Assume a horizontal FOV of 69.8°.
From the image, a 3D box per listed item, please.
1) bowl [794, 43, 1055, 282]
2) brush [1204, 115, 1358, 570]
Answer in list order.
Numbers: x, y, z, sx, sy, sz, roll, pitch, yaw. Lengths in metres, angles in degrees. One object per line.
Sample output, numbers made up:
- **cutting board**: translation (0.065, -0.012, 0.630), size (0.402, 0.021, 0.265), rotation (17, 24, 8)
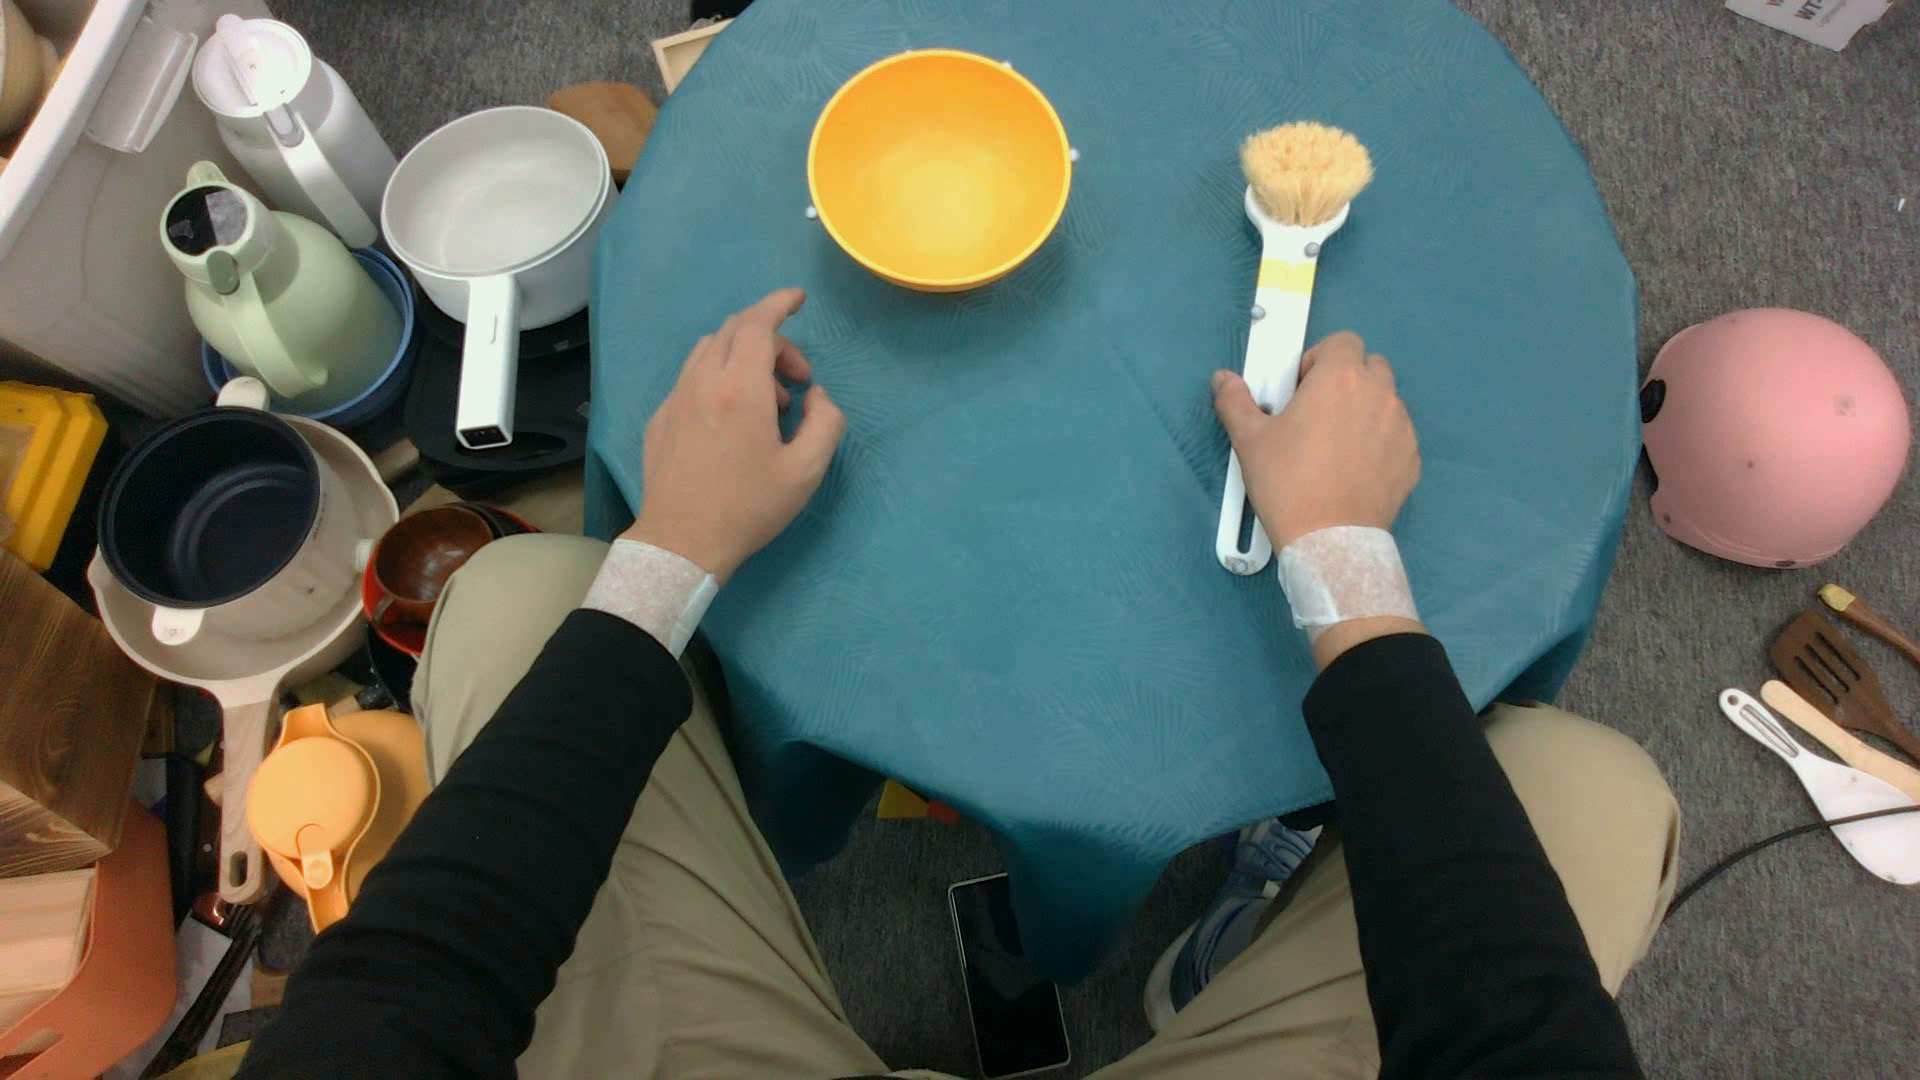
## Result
- **bowl**: translation (-0.019, -0.204, 0.784), size (0.145, 0.060, 0.145), rotation (0, 75, 0)
- **brush**: translation (0.171, -0.116, 0.765), size (0.068, 0.056, 0.267), rotation (9, 75, 11)
